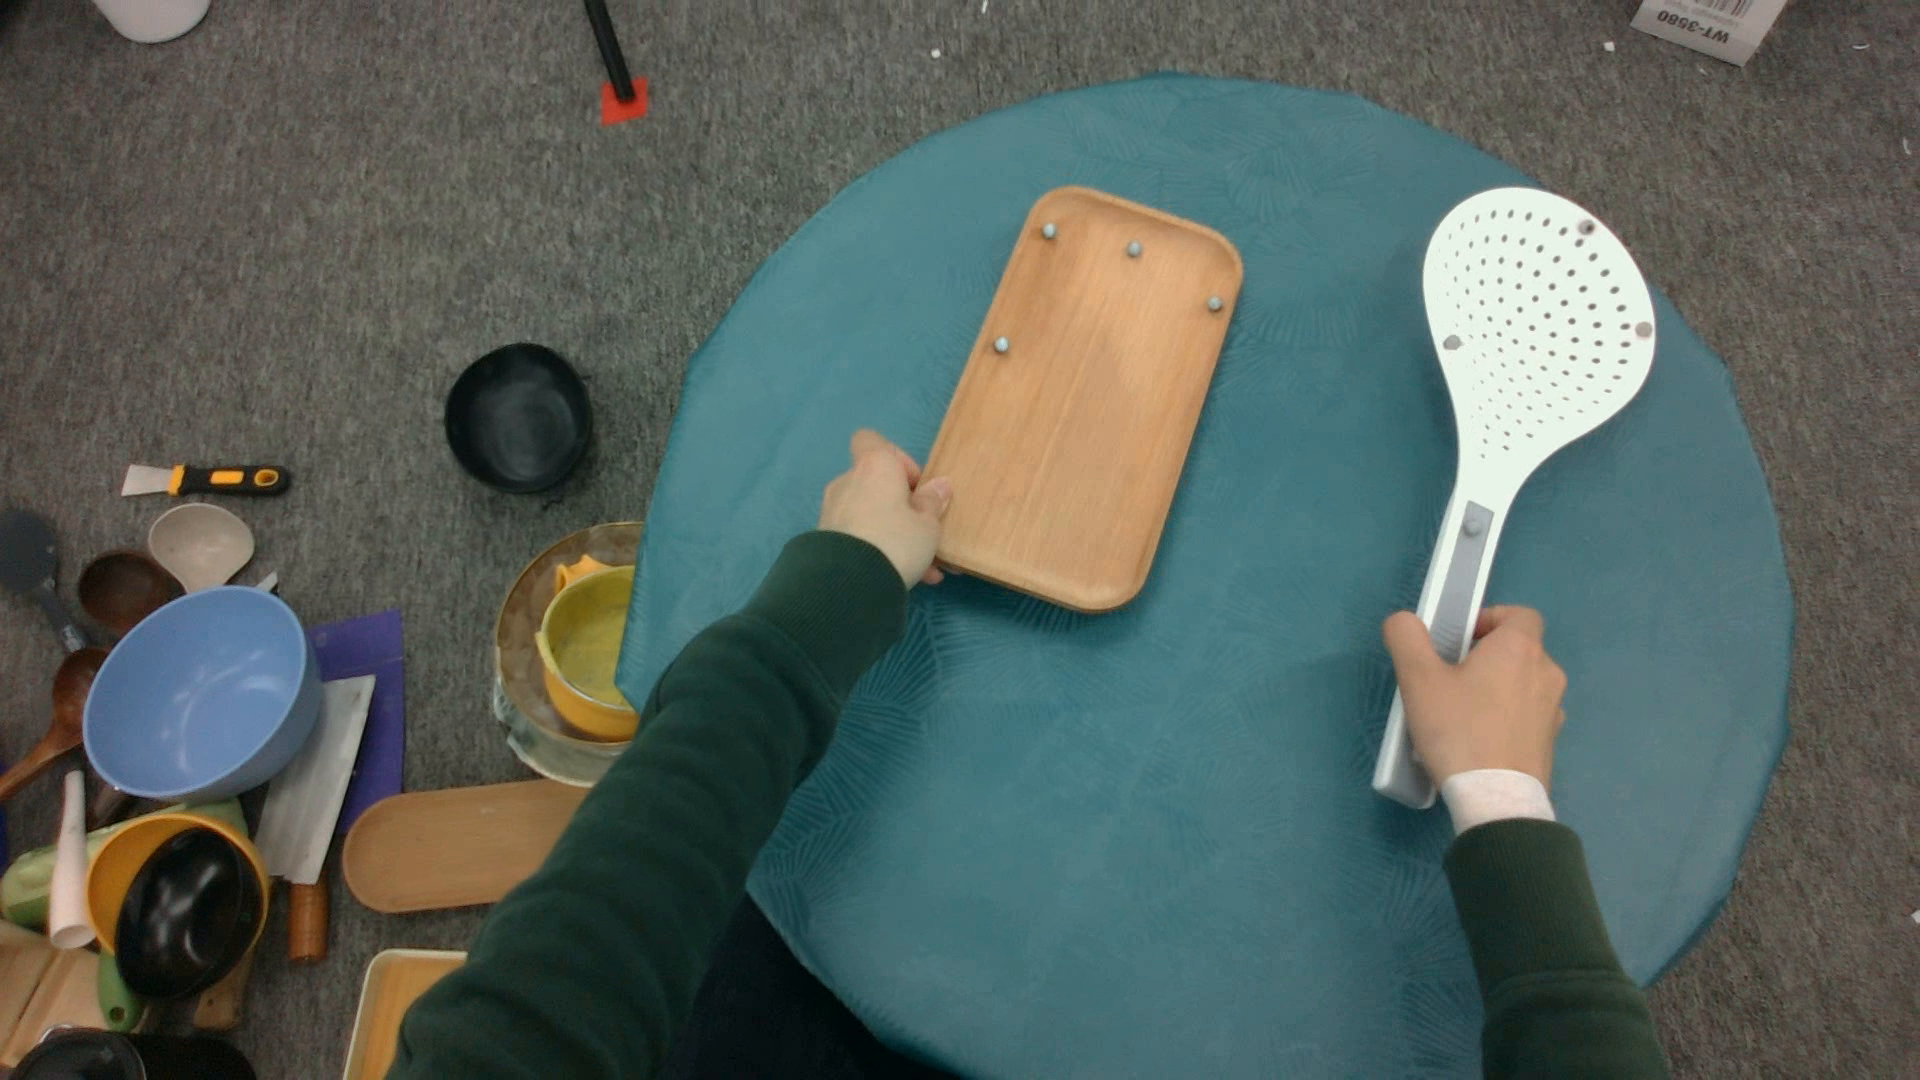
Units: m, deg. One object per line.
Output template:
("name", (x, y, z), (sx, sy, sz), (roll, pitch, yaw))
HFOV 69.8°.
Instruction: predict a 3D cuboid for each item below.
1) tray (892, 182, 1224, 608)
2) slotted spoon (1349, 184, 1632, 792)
("tray", (0.057, -0.085, 0.744), (0.130, 0.023, 0.251), (18, 65, 6))
("slotted spoon", (0.259, -0.036, 0.704), (0.136, 0.045, 0.351), (25, 64, -4))
